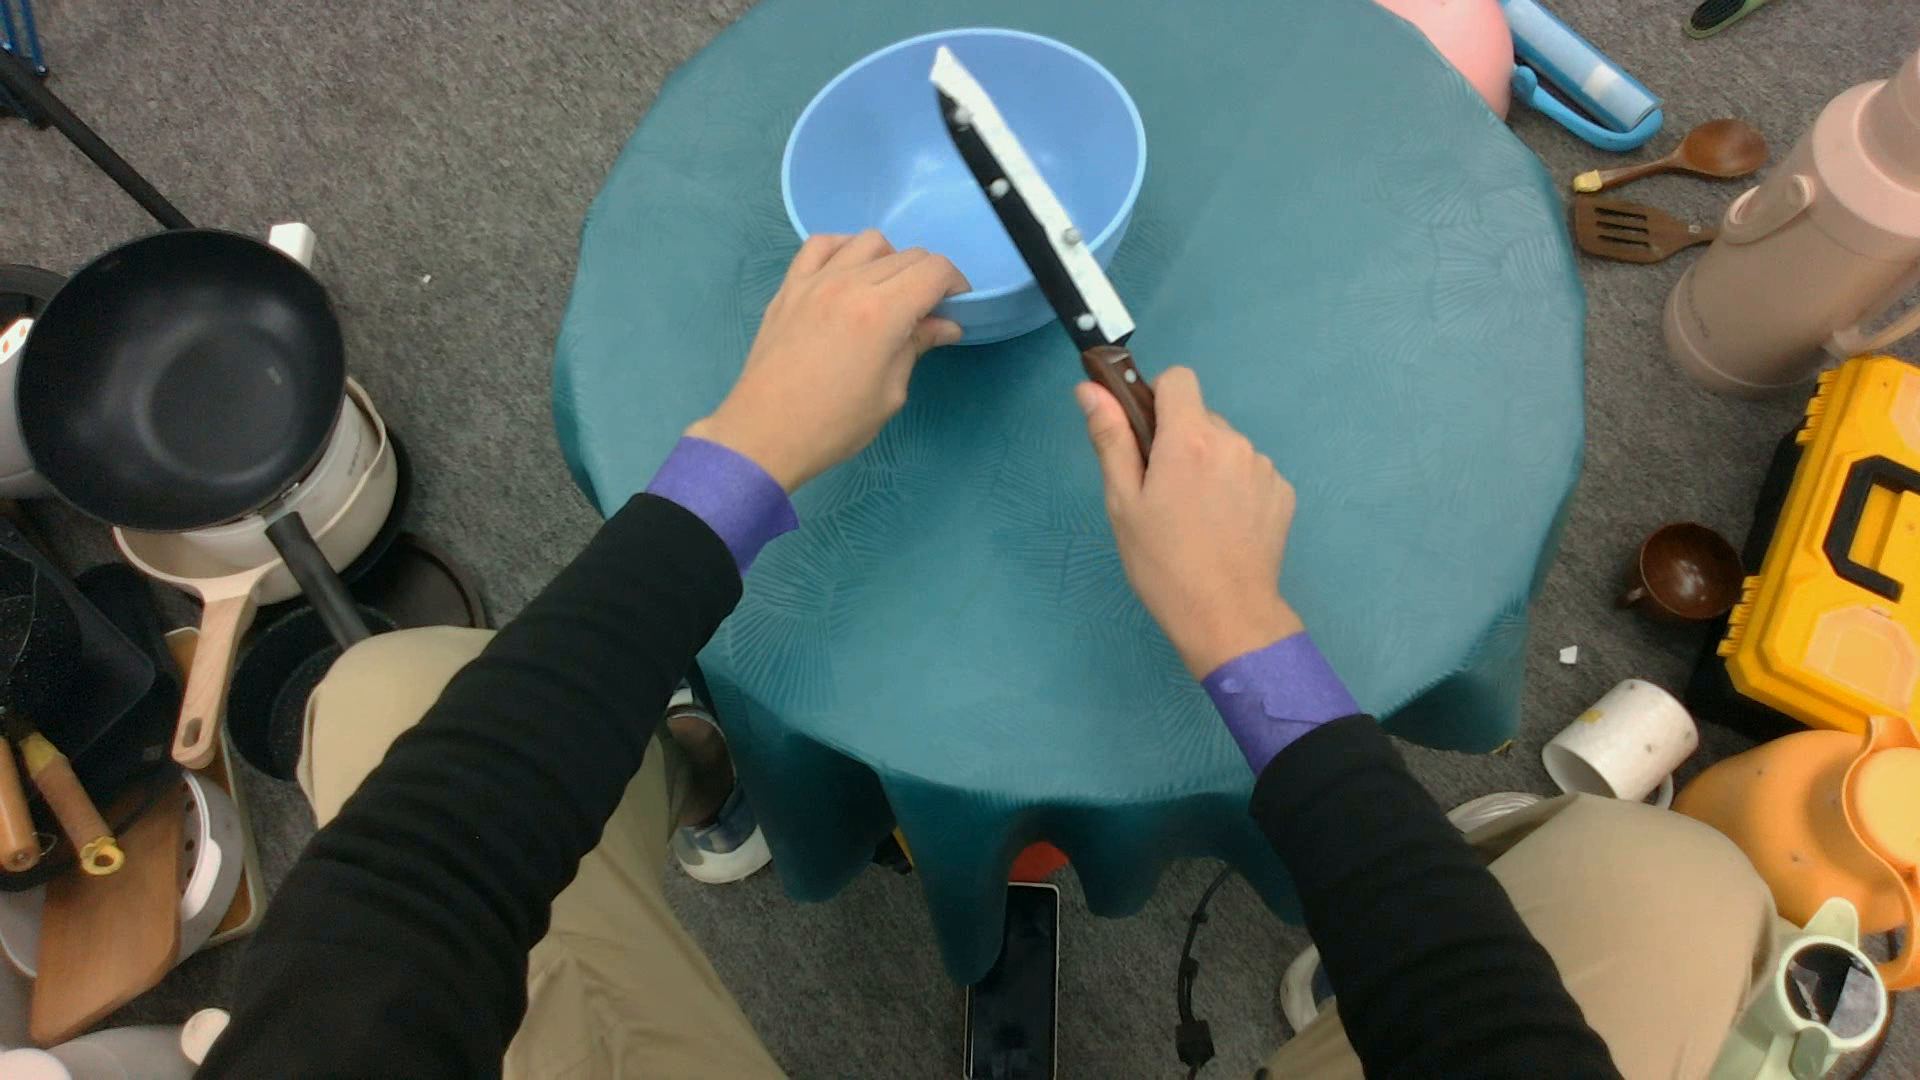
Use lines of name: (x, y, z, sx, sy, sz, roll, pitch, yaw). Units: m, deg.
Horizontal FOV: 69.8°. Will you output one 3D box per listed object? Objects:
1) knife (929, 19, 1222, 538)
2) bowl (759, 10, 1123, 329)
knife: (0.057, -0.130, 0.688, 0.050, 0.020, 0.289, -32, 95, -40)
bowl: (-0.008, -0.193, 0.780, 0.196, 0.095, 0.197, -2, 63, 3)
